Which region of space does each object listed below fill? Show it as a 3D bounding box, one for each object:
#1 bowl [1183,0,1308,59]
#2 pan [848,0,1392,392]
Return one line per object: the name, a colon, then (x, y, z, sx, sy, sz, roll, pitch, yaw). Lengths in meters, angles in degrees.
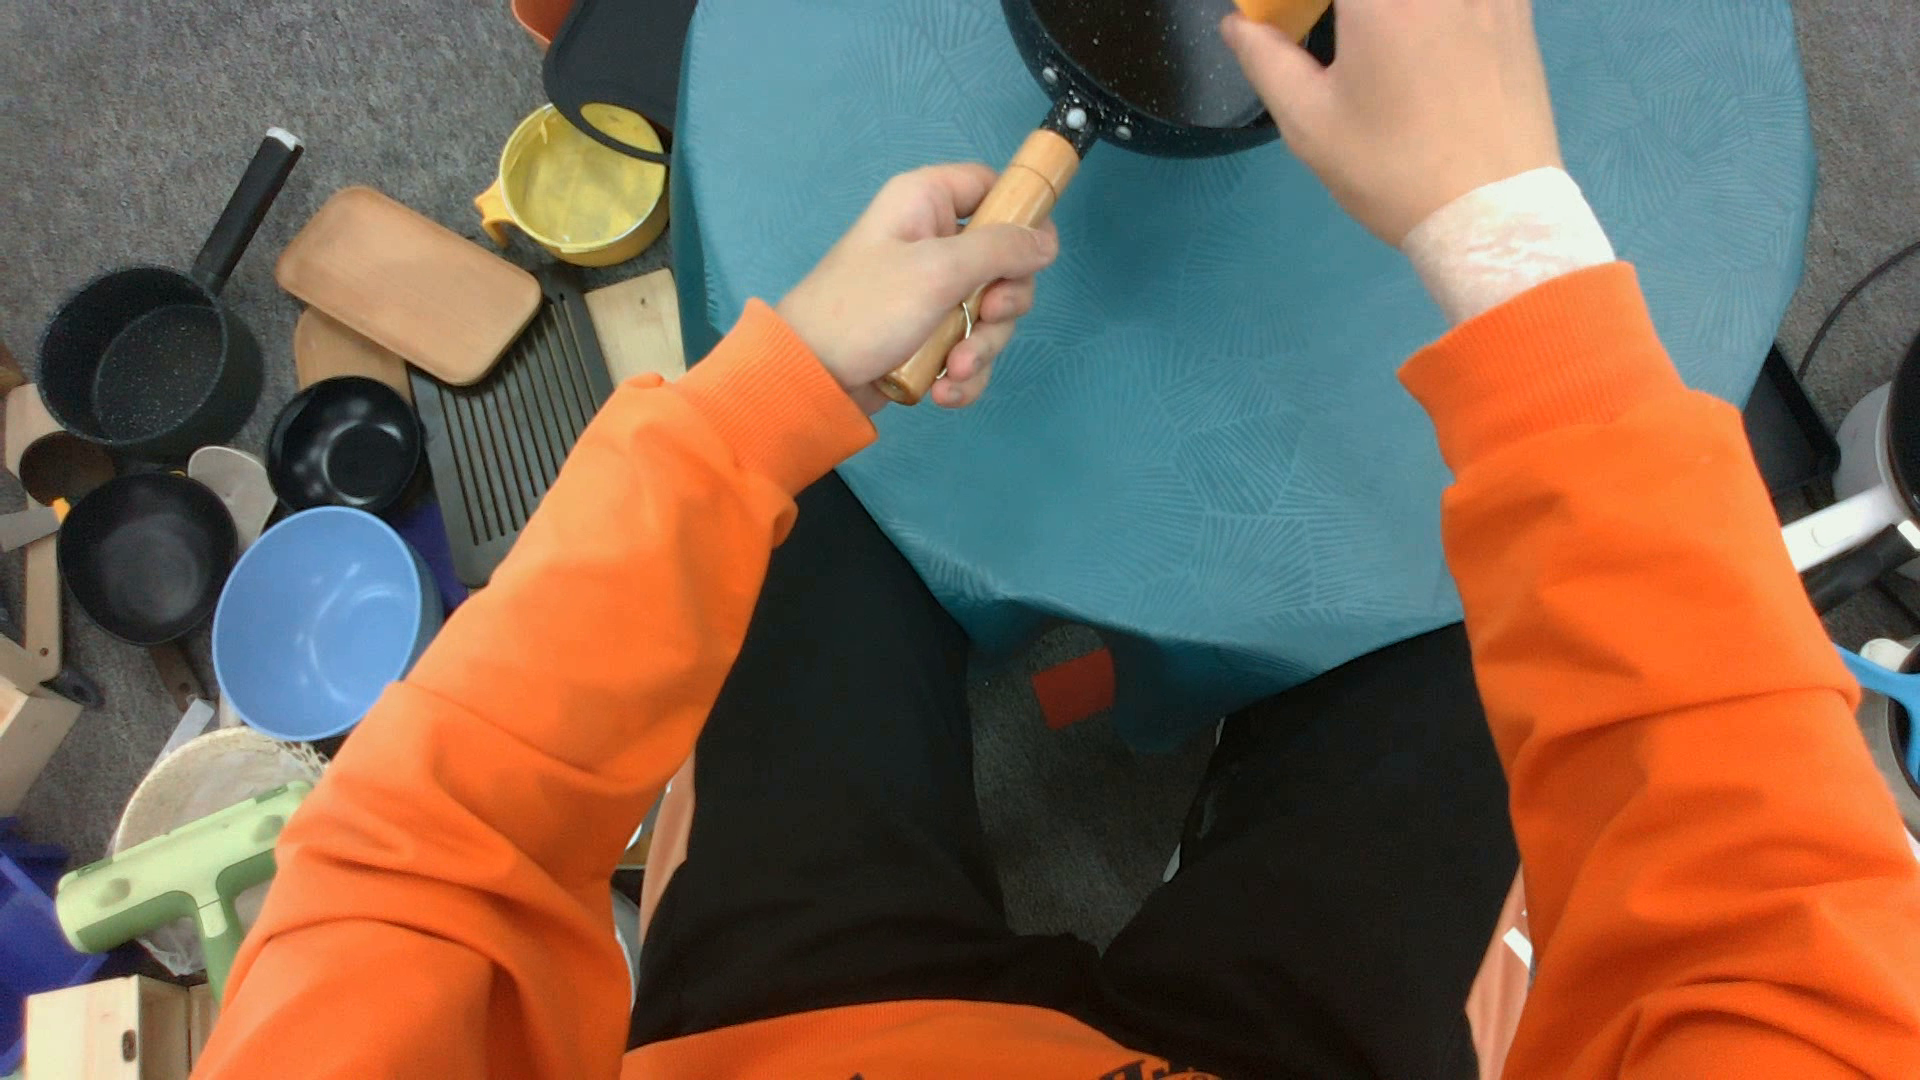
bowl: (0.104, -0.269, 0.545, 0.060, 0.146, 0.145, -33, 76, 32)
pan: (0.054, -0.199, 0.606, 0.207, 0.108, 0.343, 34, 82, -7)
